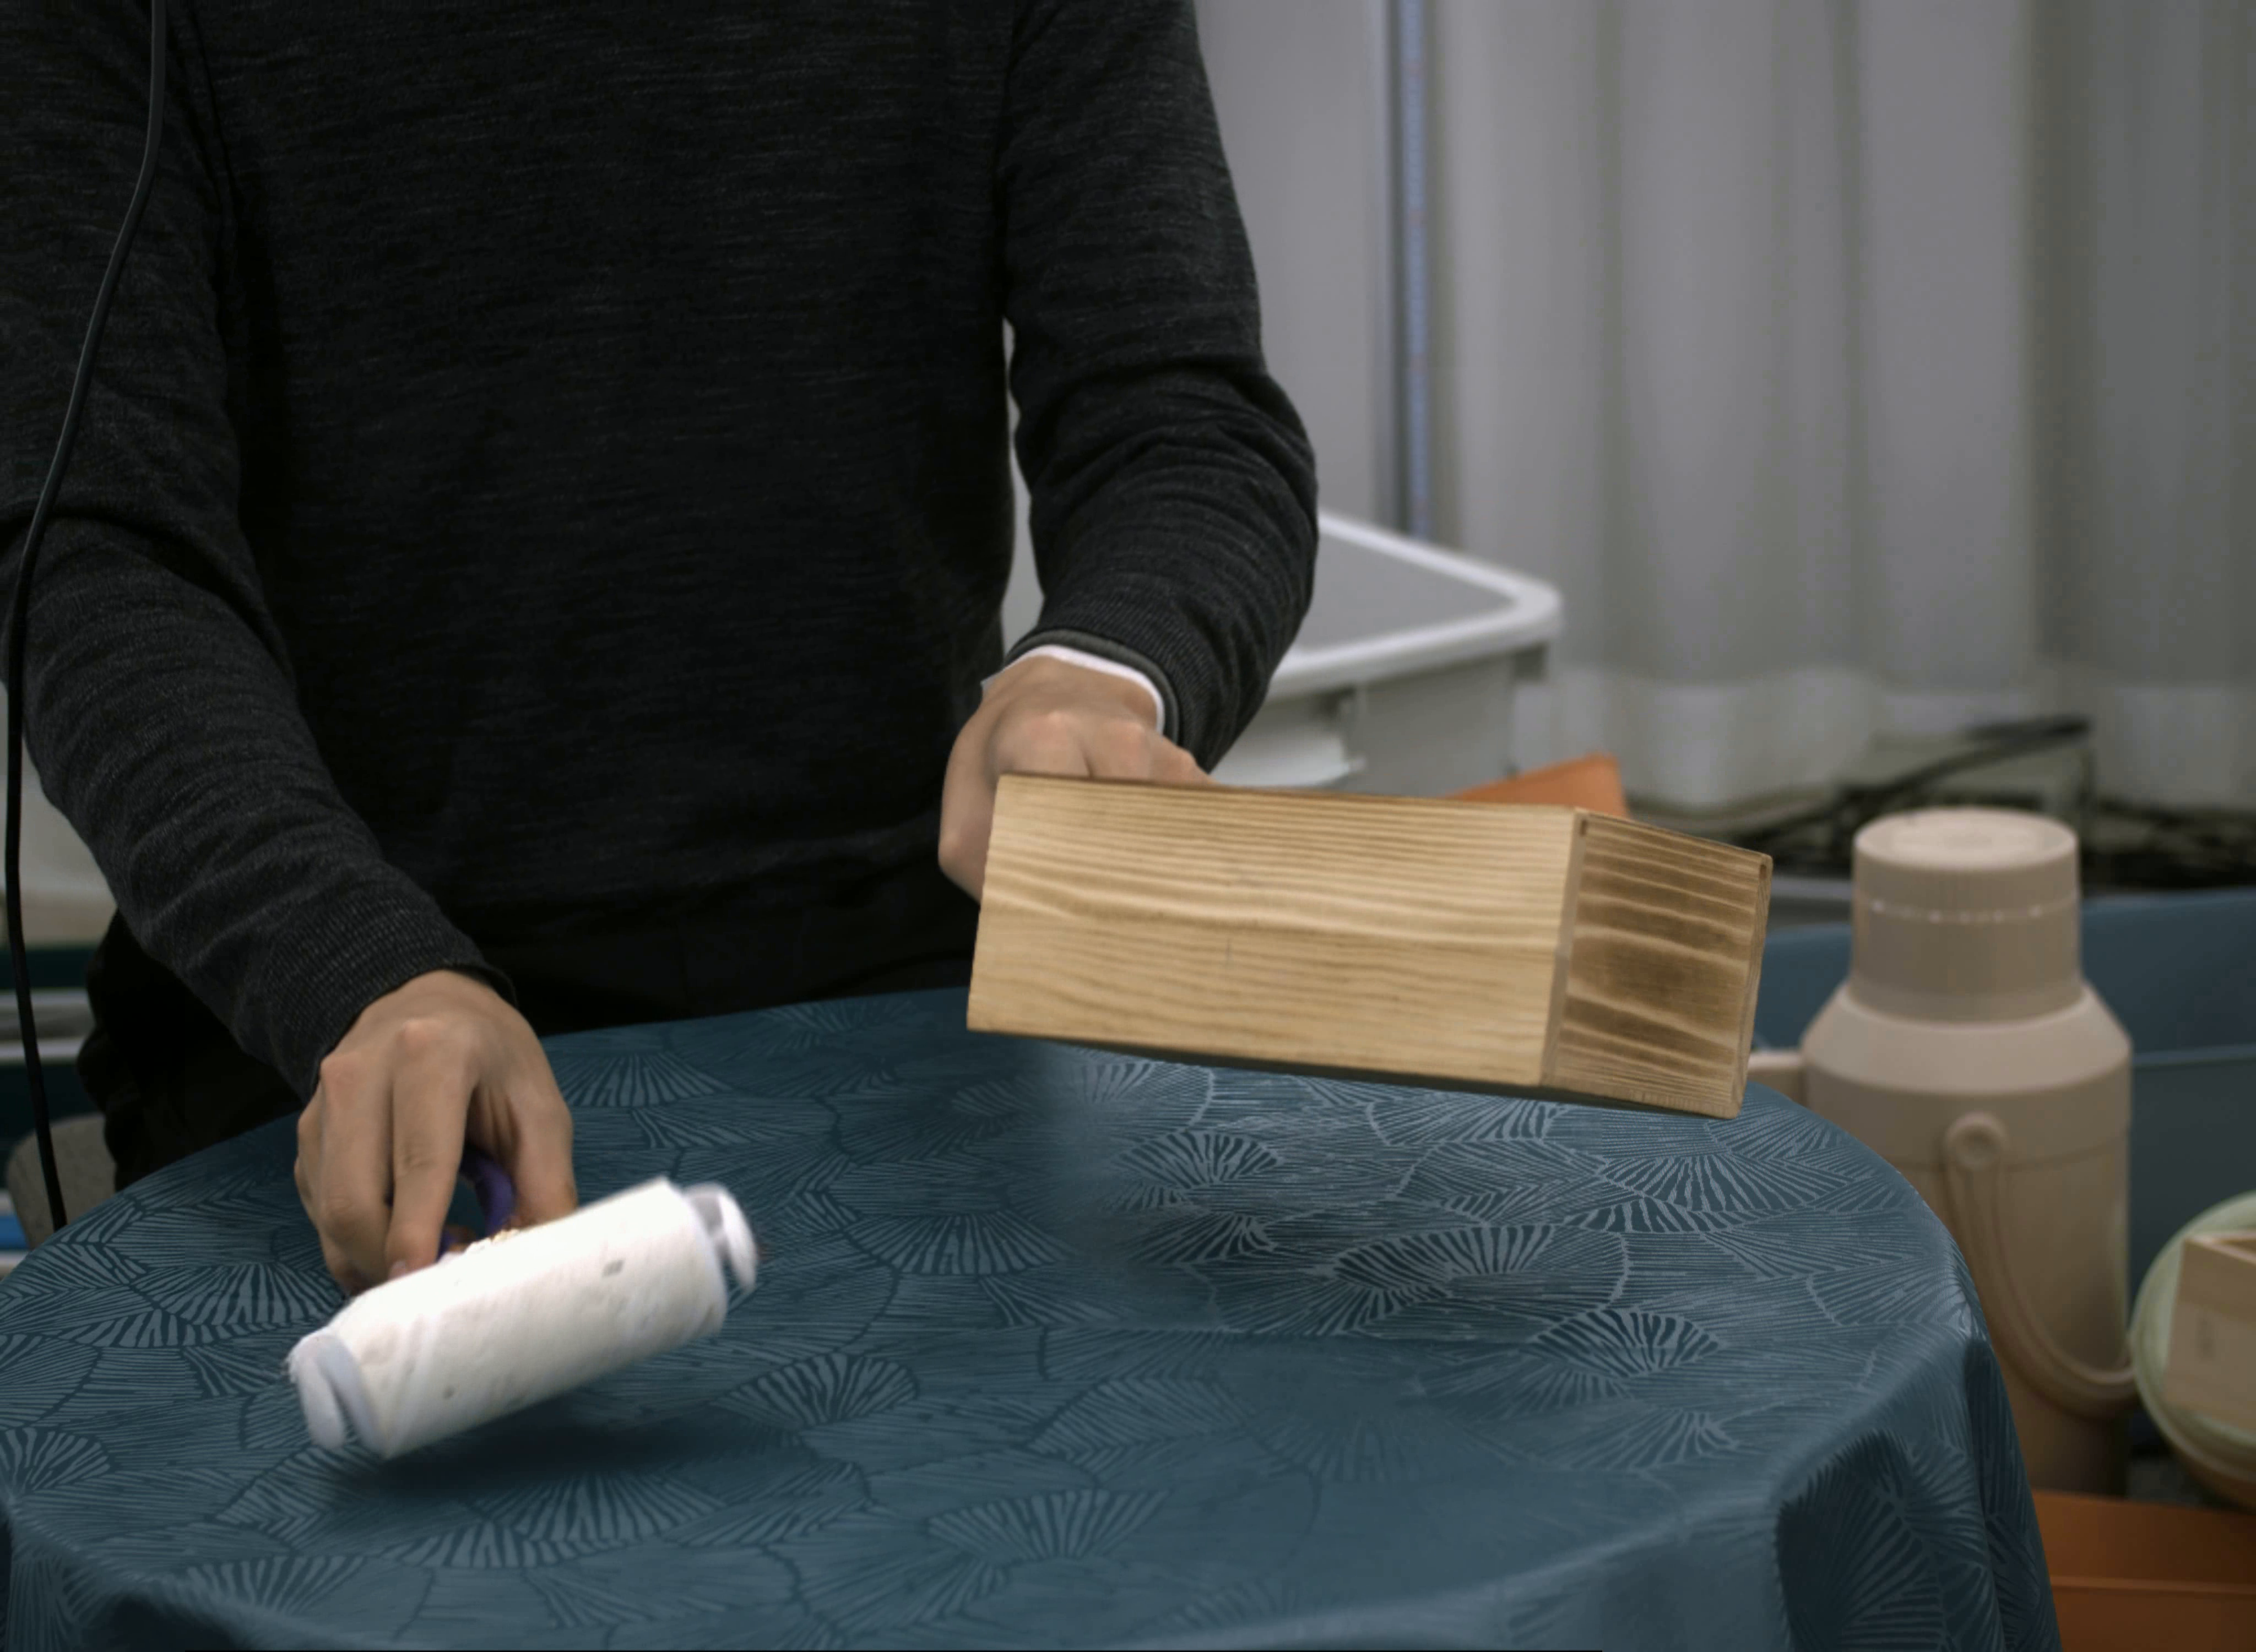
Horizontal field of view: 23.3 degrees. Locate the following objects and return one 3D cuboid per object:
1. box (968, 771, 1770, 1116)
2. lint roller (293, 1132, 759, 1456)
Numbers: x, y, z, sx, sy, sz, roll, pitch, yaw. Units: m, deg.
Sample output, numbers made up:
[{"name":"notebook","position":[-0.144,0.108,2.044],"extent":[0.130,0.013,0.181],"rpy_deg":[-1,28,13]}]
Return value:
[{"name":"box","position":[0.070,0.034,1.618],"extent":[0.212,0.081,0.106],"rpy_deg":[3,-7,39]},{"name":"lint roller","position":[-0.187,0.111,1.569],"extent":[0.132,0.050,0.183],"rpy_deg":[-23,27,-11]}]
